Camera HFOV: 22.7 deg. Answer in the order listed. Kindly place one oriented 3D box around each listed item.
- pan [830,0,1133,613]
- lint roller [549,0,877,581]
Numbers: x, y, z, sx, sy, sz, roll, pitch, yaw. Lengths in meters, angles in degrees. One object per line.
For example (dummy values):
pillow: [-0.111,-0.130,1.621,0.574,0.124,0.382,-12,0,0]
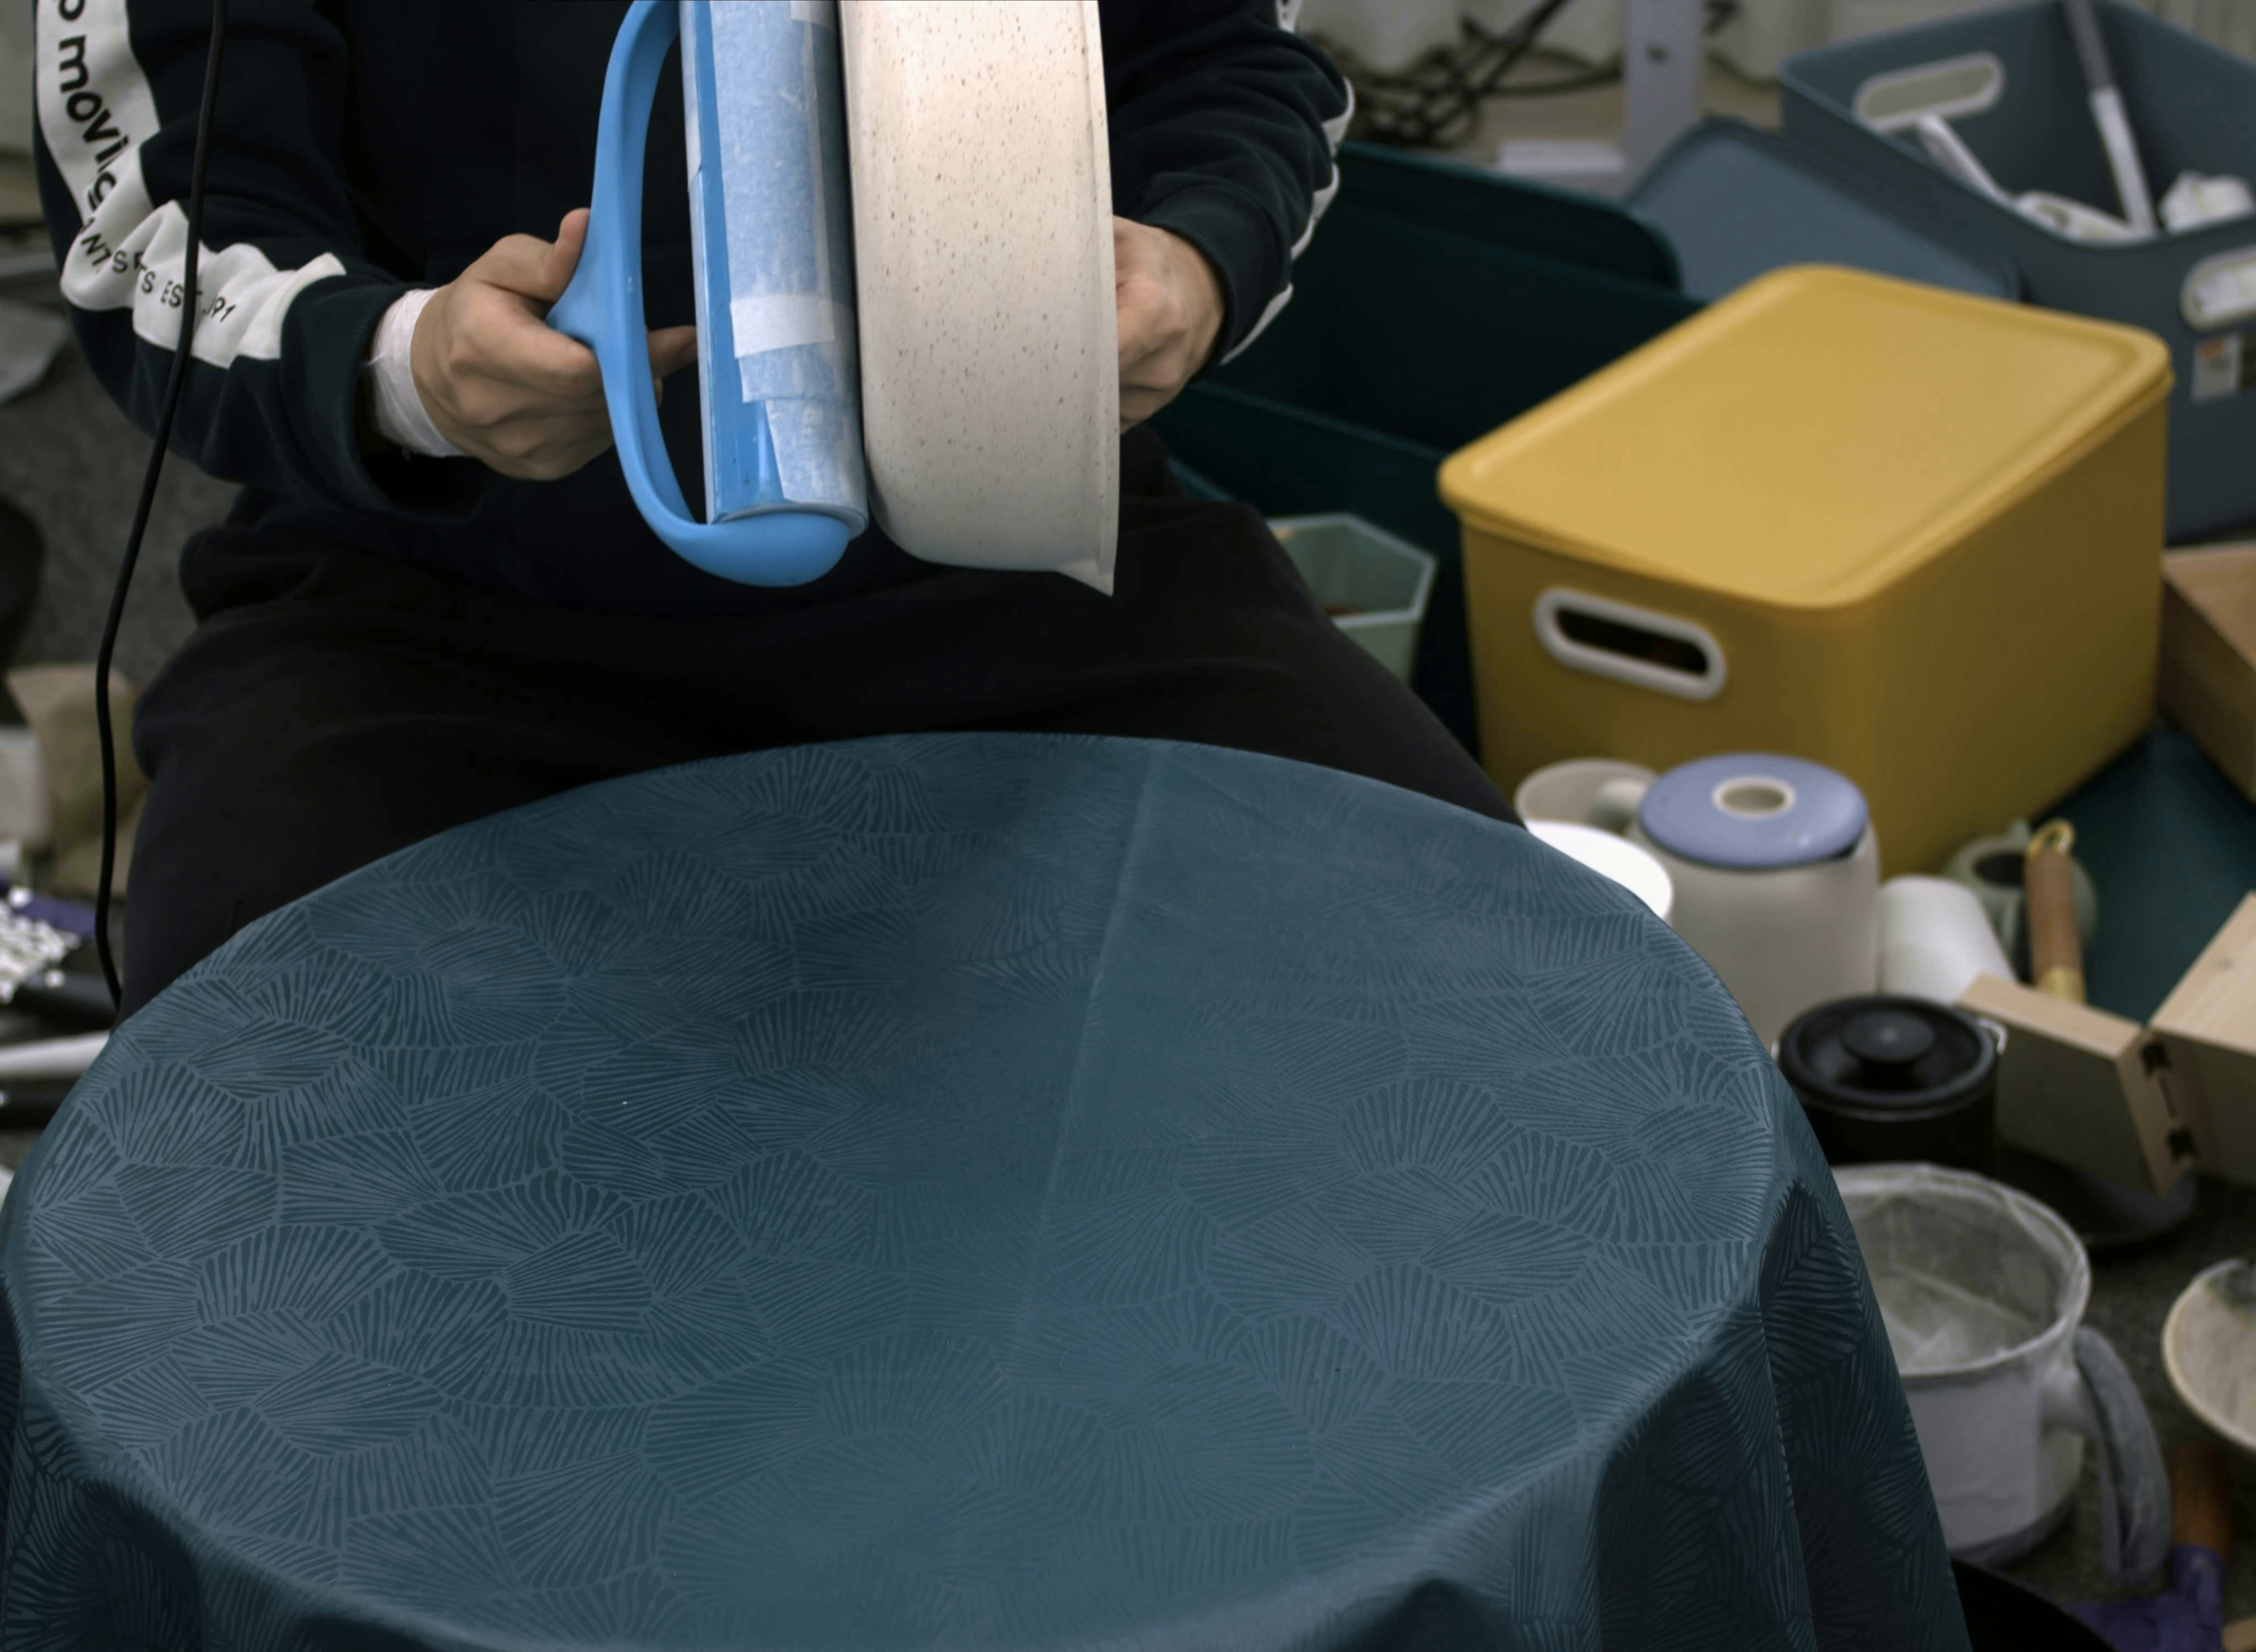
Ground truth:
pan: [-0.049,-0.195,2.001,0.101,0.265,0.433,-5,-4,-4]
lint roller: [-0.158,-0.174,1.925,0.068,0.232,0.177,10,-25,-42]
